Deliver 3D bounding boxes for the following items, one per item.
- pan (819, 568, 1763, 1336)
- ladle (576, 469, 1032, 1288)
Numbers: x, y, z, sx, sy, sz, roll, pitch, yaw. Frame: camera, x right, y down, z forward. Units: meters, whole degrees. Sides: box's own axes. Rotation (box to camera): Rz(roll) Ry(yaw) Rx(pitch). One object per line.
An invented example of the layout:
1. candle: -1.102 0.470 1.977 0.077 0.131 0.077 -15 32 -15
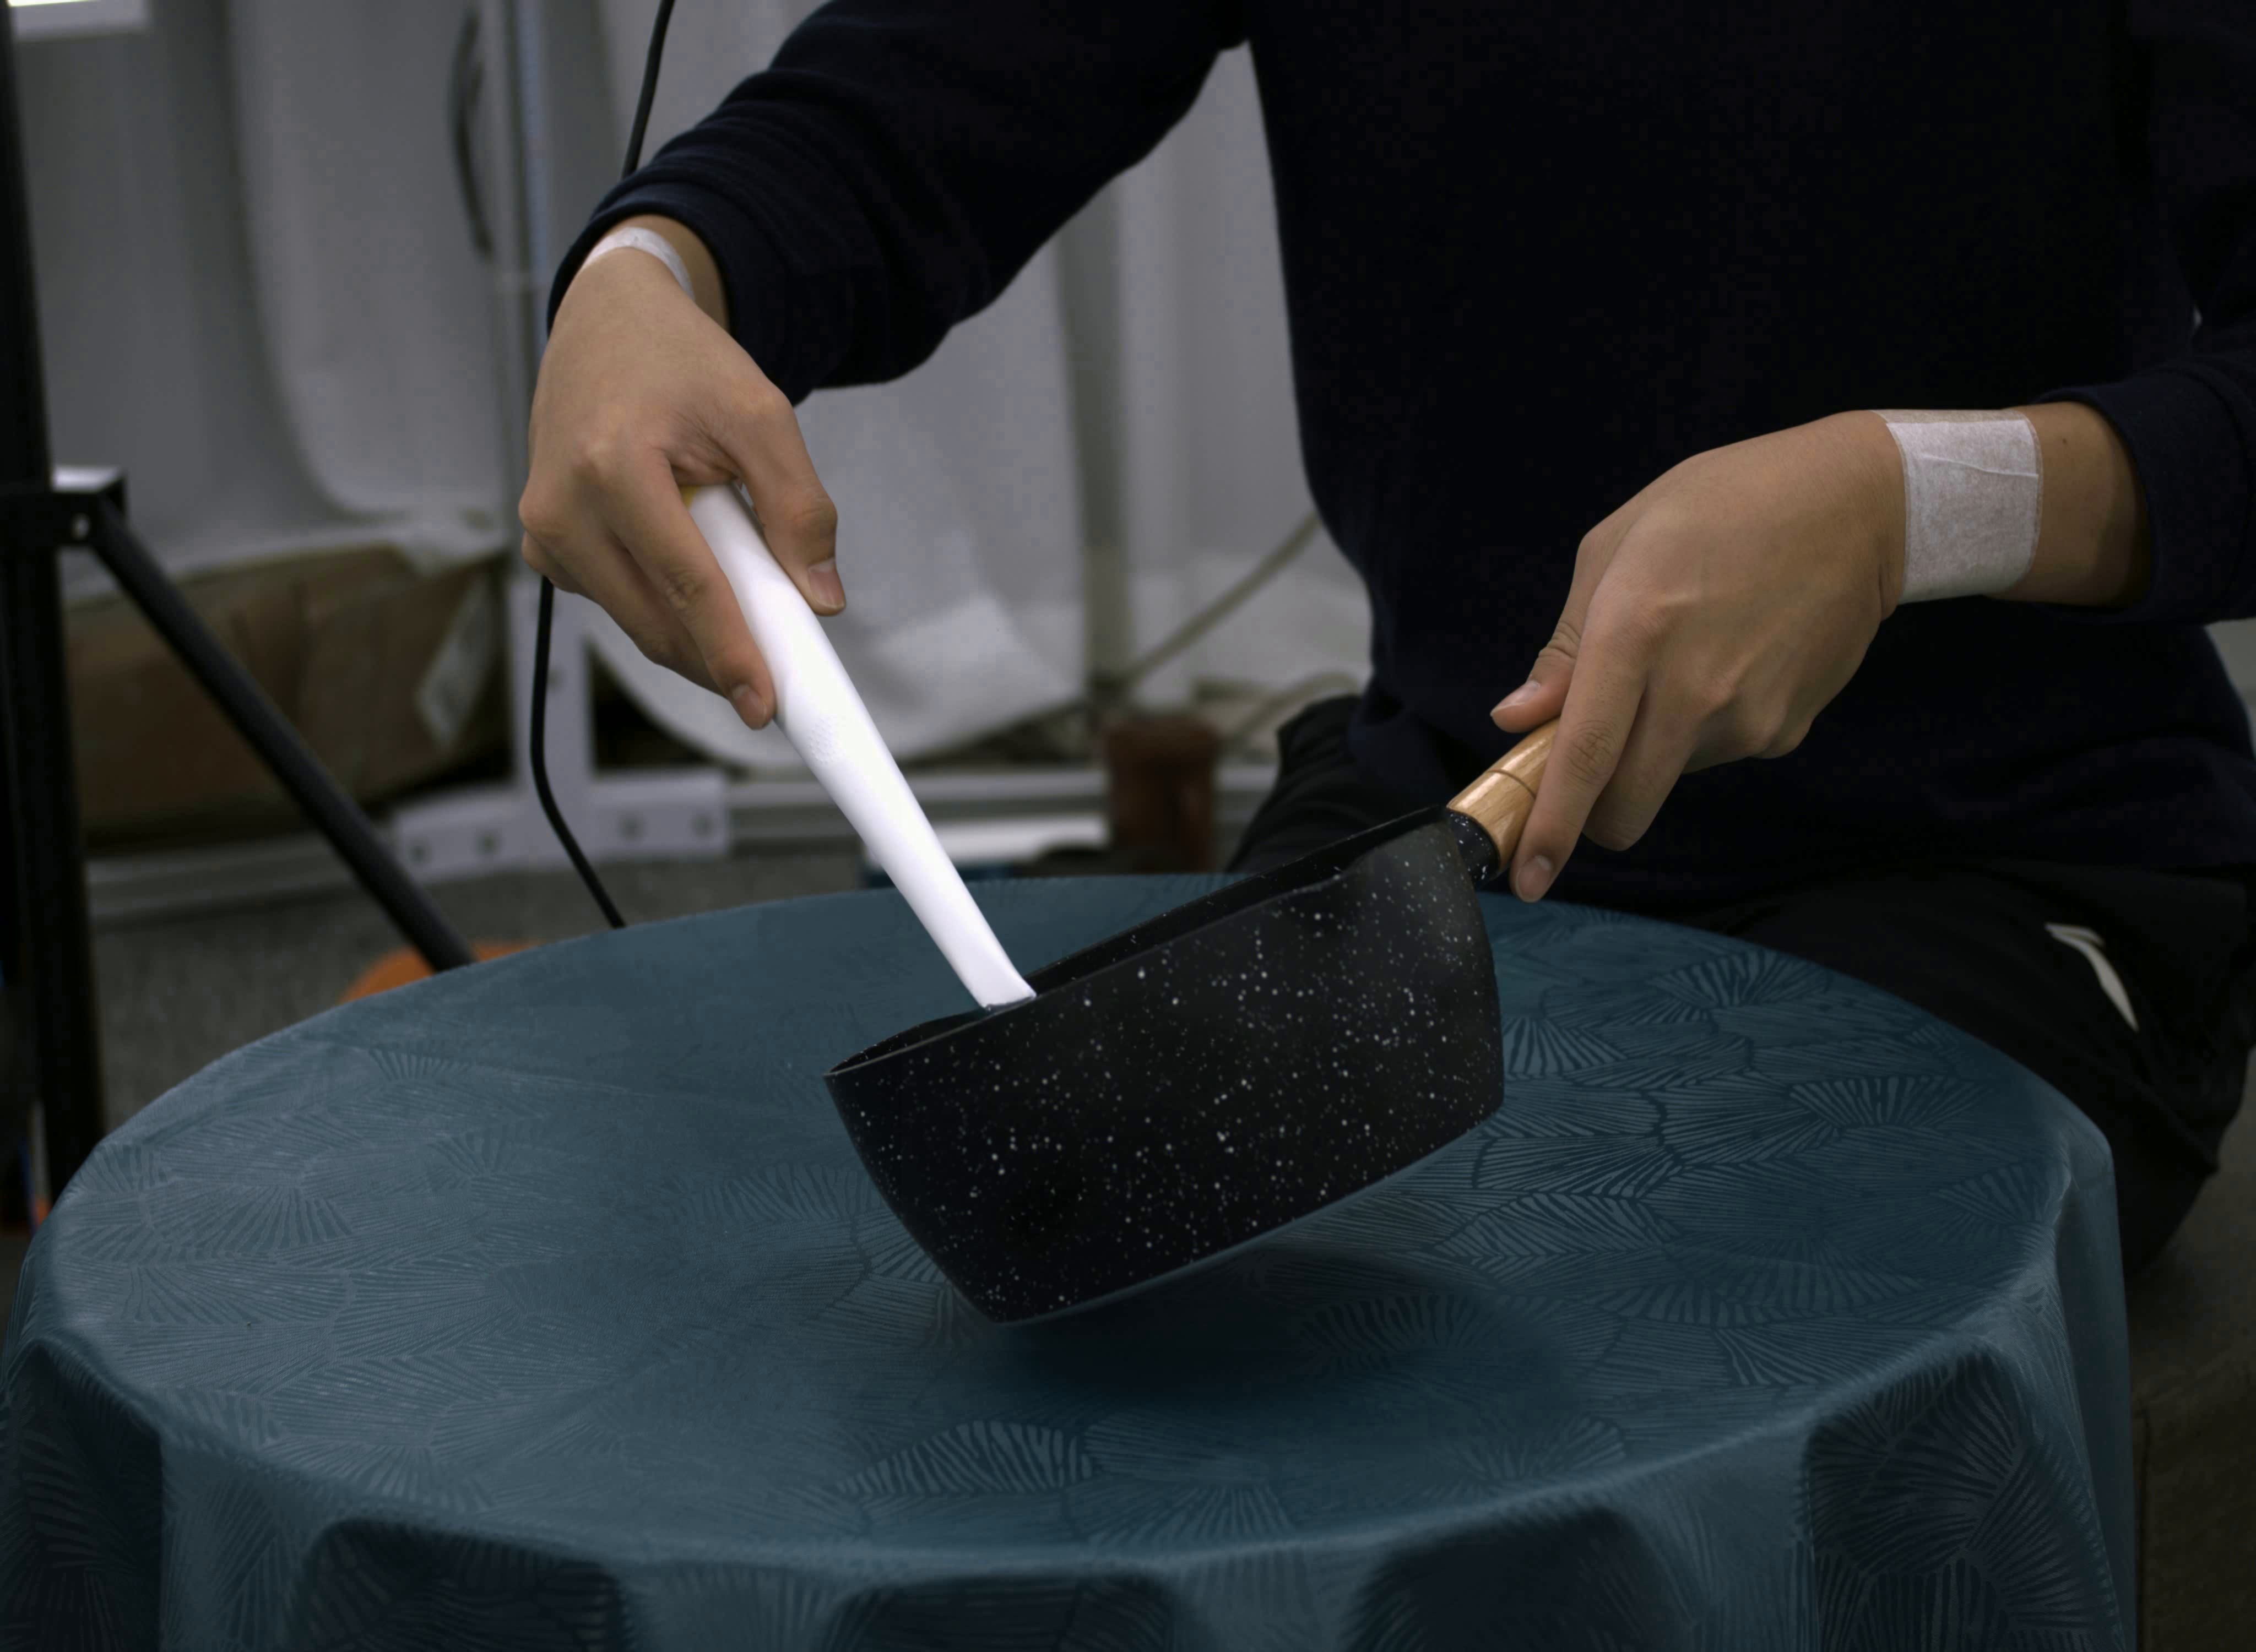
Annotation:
1. pan: 0.072 0.032 1.486 0.336 0.108 0.211 -25 1 -35
2. ladle: -0.082 0.006 1.487 0.068 0.091 0.298 17 31 -55
